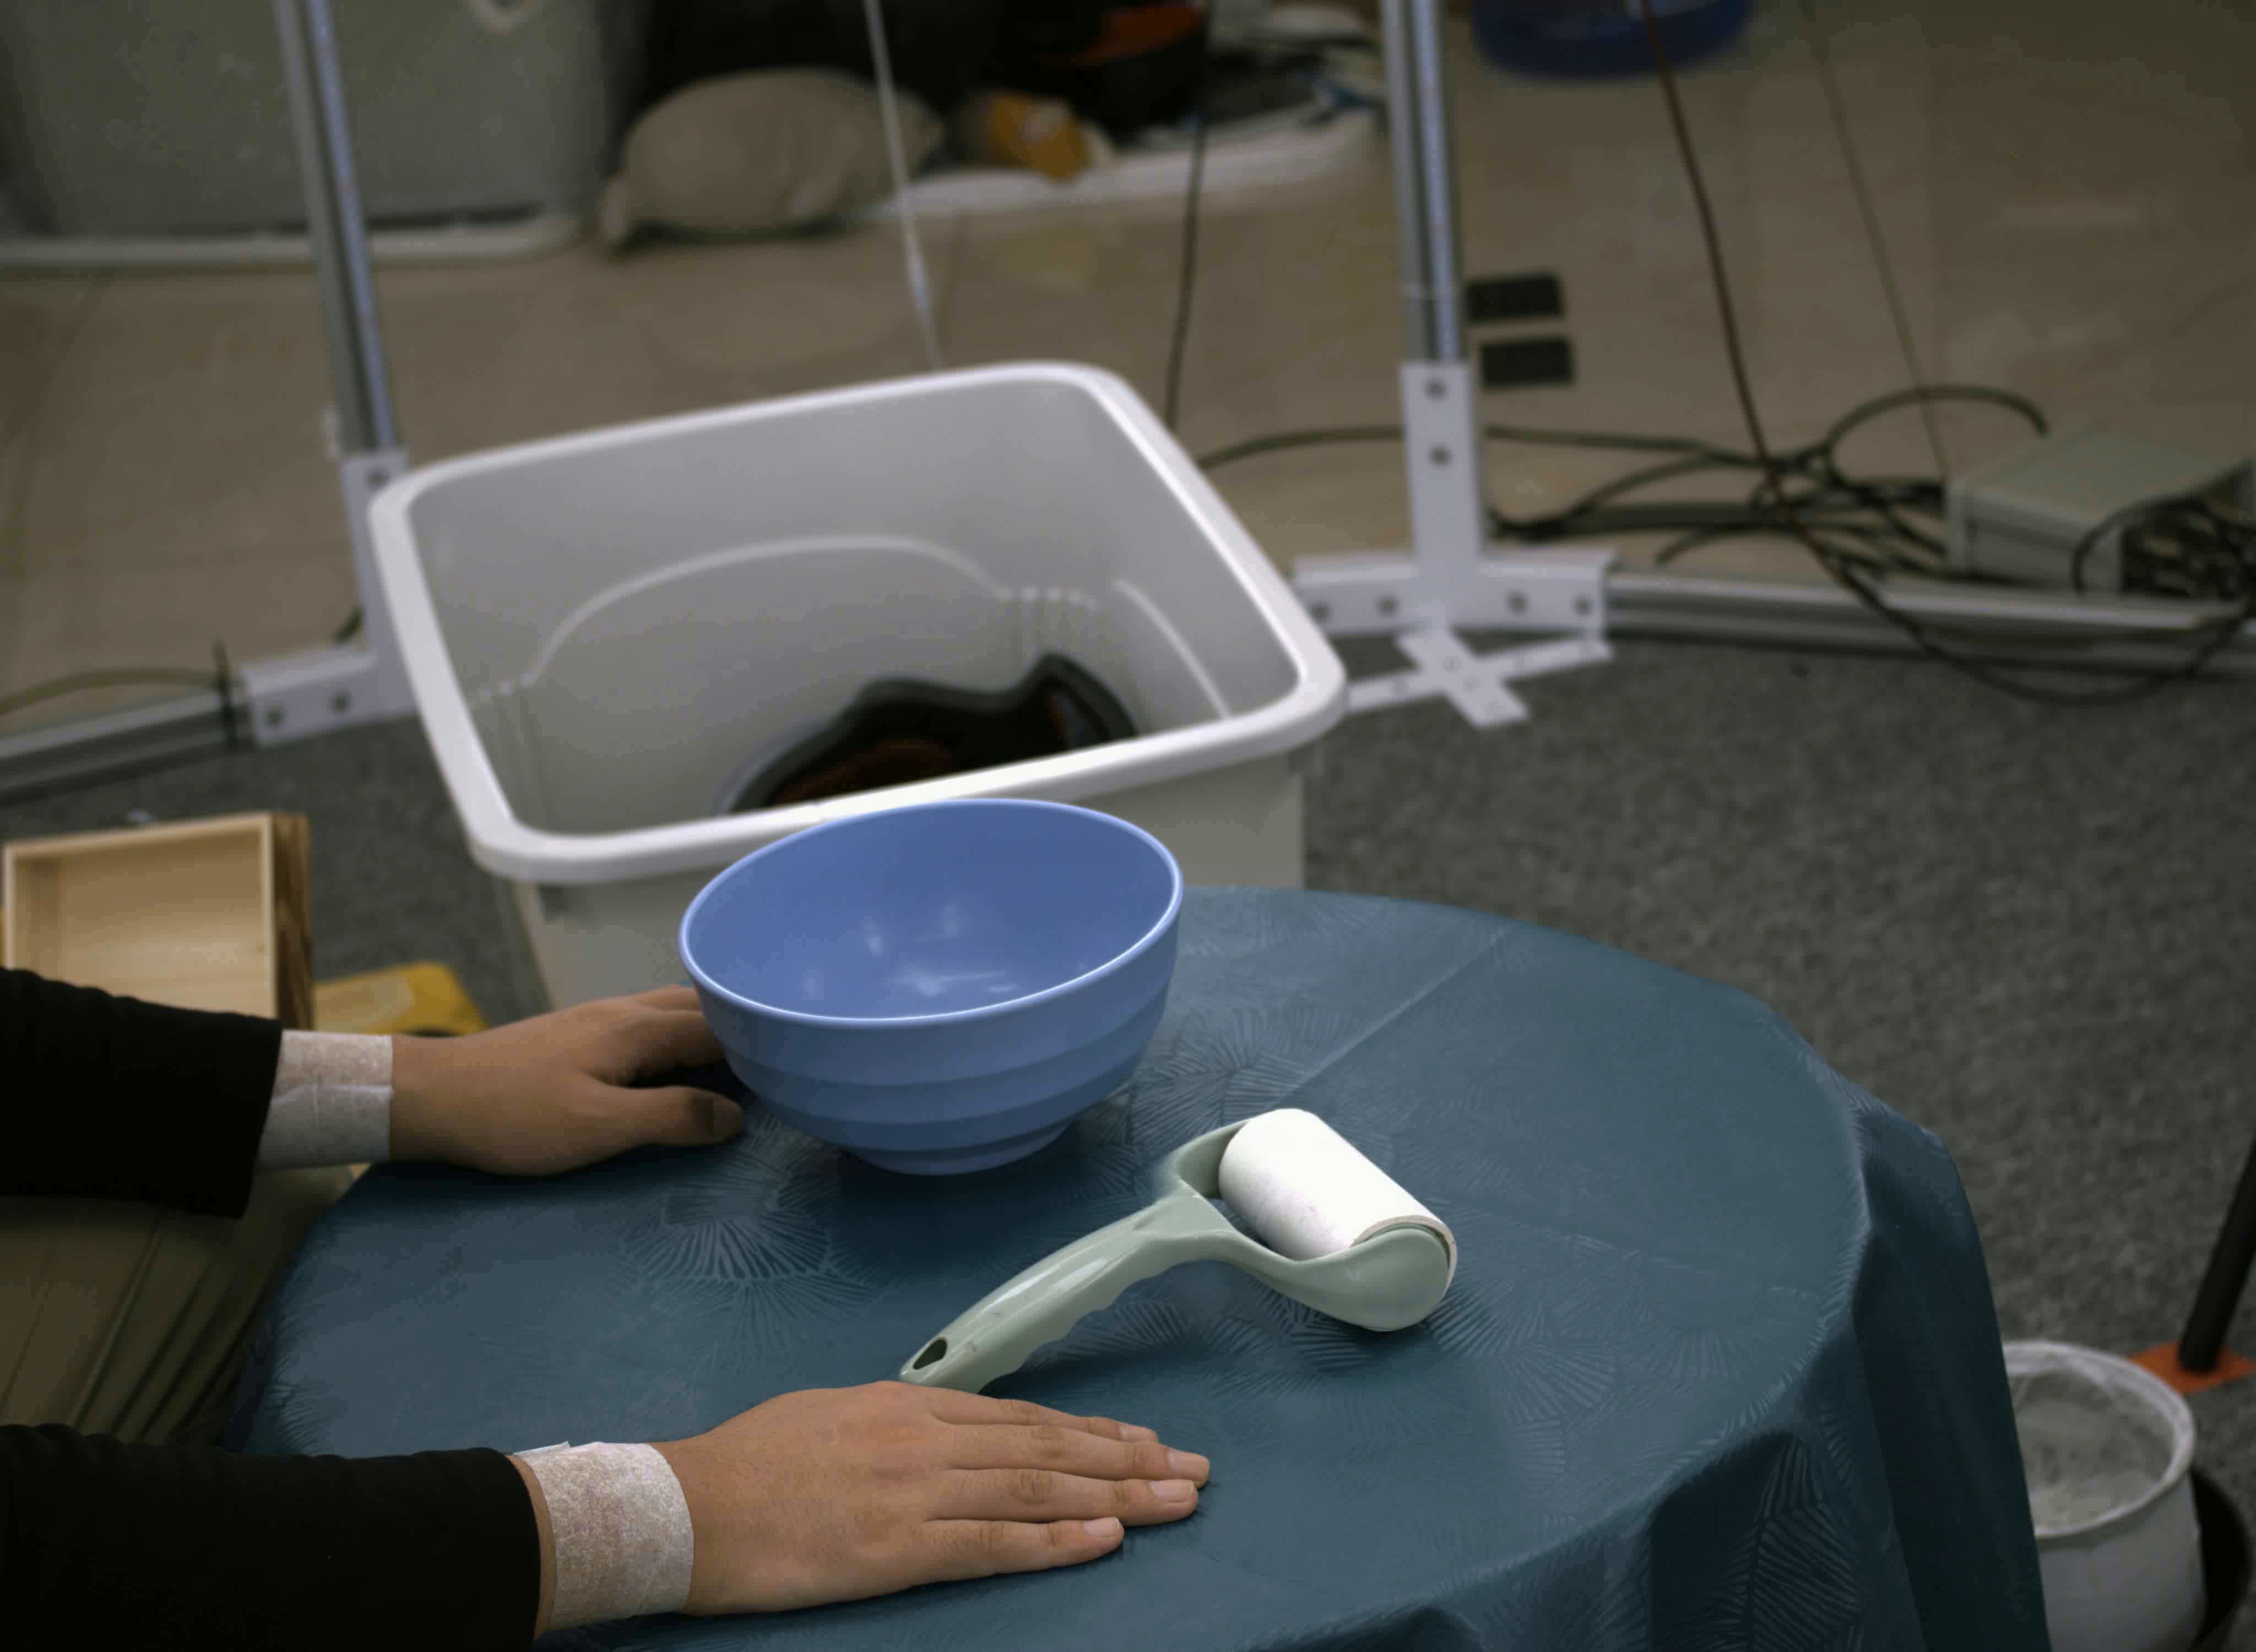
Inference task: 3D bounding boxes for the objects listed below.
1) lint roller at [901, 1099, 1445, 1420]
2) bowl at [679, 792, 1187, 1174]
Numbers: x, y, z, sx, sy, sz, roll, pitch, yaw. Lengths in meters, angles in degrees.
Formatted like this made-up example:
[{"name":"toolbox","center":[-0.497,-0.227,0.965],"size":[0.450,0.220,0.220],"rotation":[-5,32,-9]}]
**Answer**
[{"name":"lint roller","center":[0.005,0.161,2.048],"size":[0.197,0.049,0.115],"rotation":[-17,28,-19]},{"name":"bowl","center":[-0.071,0.072,2.194],"size":[0.196,0.097,0.193],"rotation":[-5,26,2]}]
